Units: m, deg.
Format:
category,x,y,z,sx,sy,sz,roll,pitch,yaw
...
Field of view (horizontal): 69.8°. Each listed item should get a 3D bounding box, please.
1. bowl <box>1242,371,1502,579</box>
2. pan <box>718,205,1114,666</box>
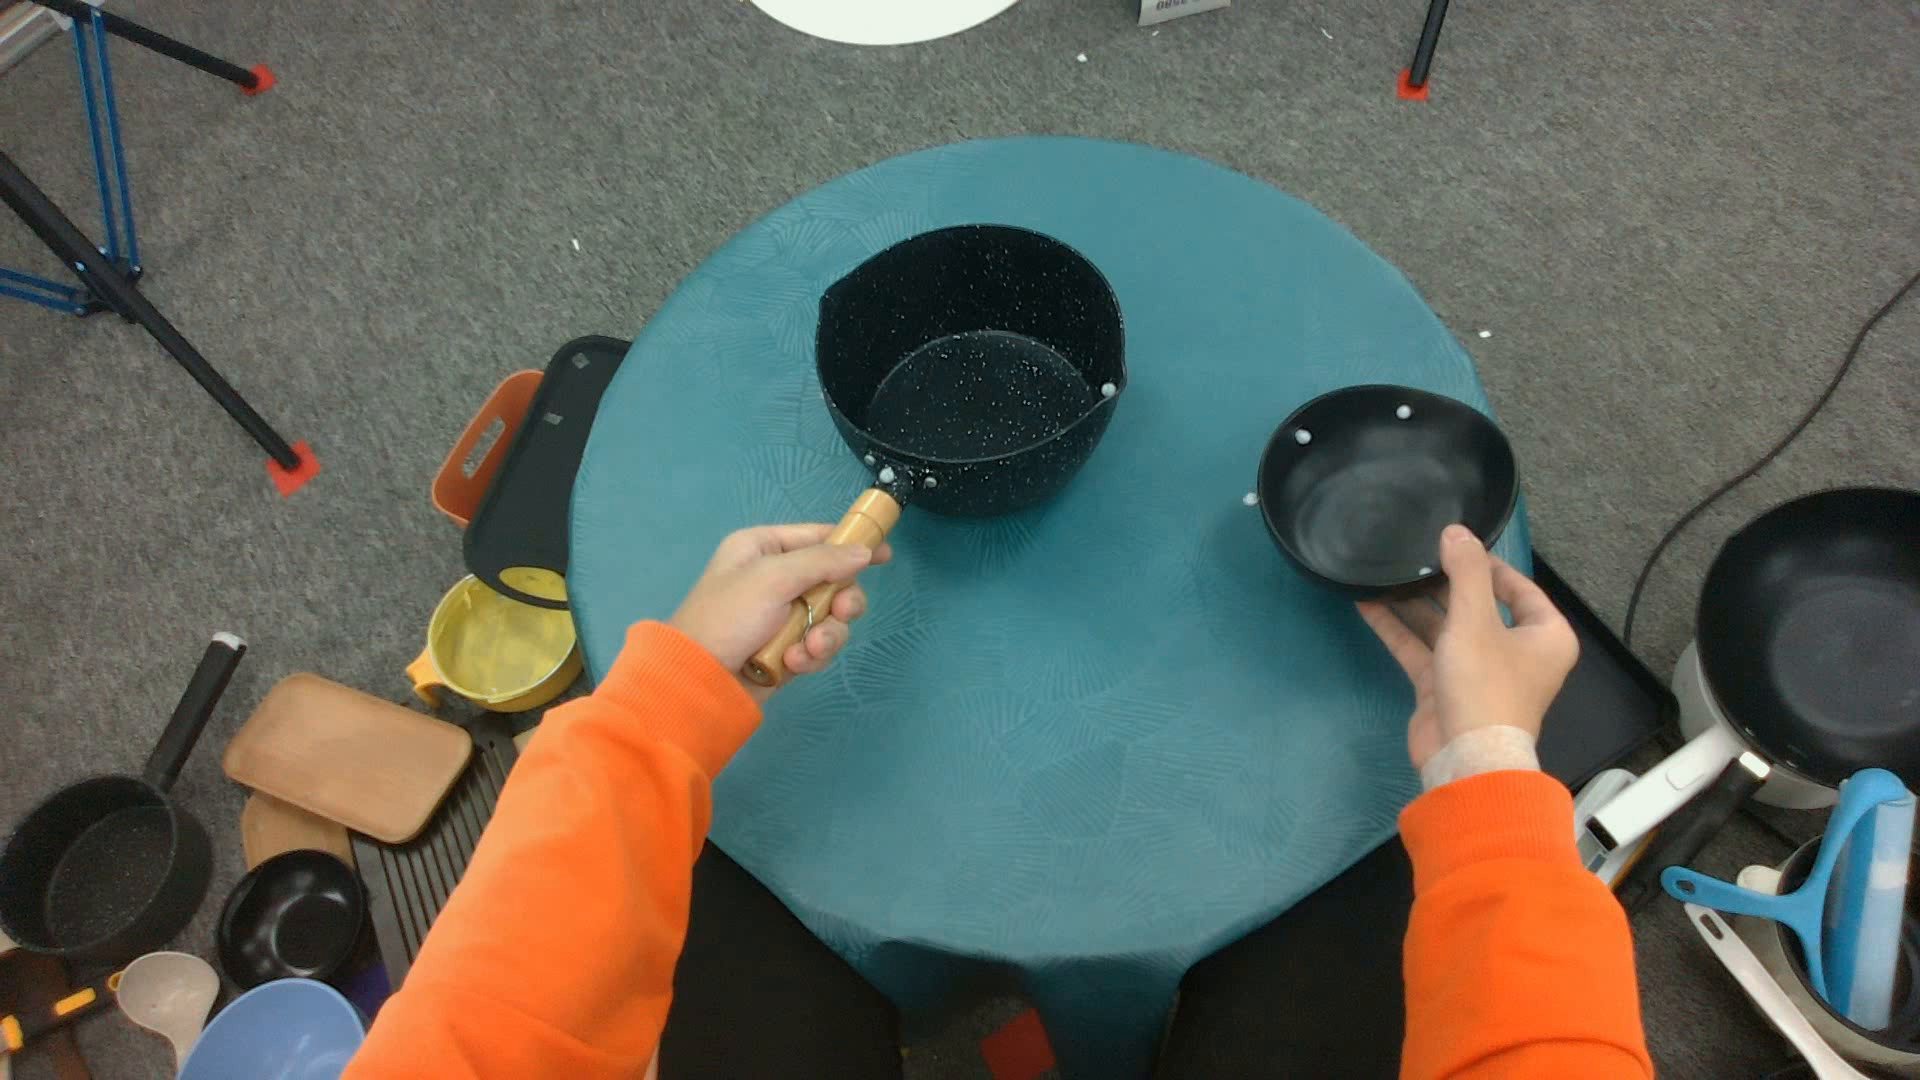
category,x,y,z,sx,sy,sz,roll,pitch,yaw
bowl,0.236,-0.032,0.804,0.137,0.066,0.171,28,55,24
pan,-0.034,-0.051,0.799,0.207,0.108,0.344,19,61,16
